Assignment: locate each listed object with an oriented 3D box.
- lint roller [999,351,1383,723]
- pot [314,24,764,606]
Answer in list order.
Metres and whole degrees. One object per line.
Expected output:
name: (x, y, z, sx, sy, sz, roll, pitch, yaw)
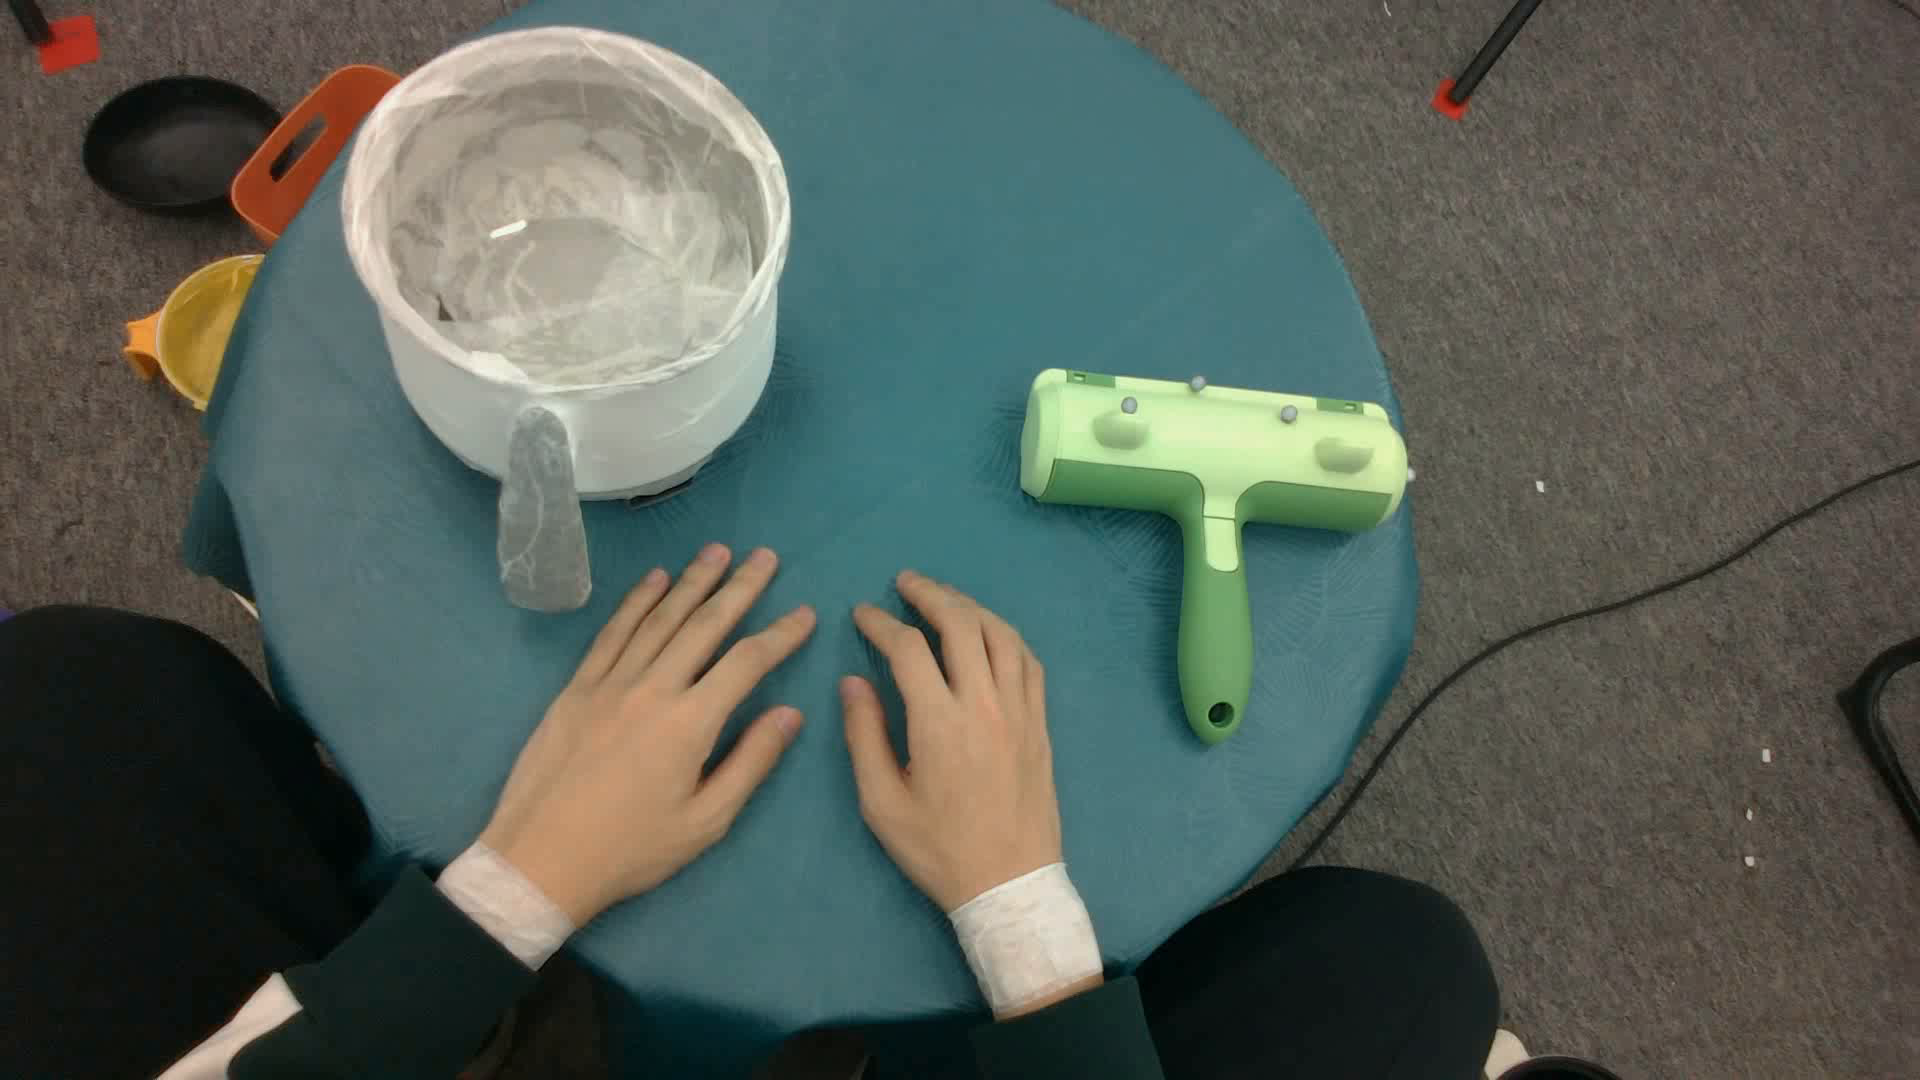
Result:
lint roller: (0.122, -0.007, 0.682, 0.199, 0.082, 0.184, 4, 63, -11)
pot: (-0.183, -0.094, 0.615, 0.179, 0.136, 0.234, 4, 68, -10)
